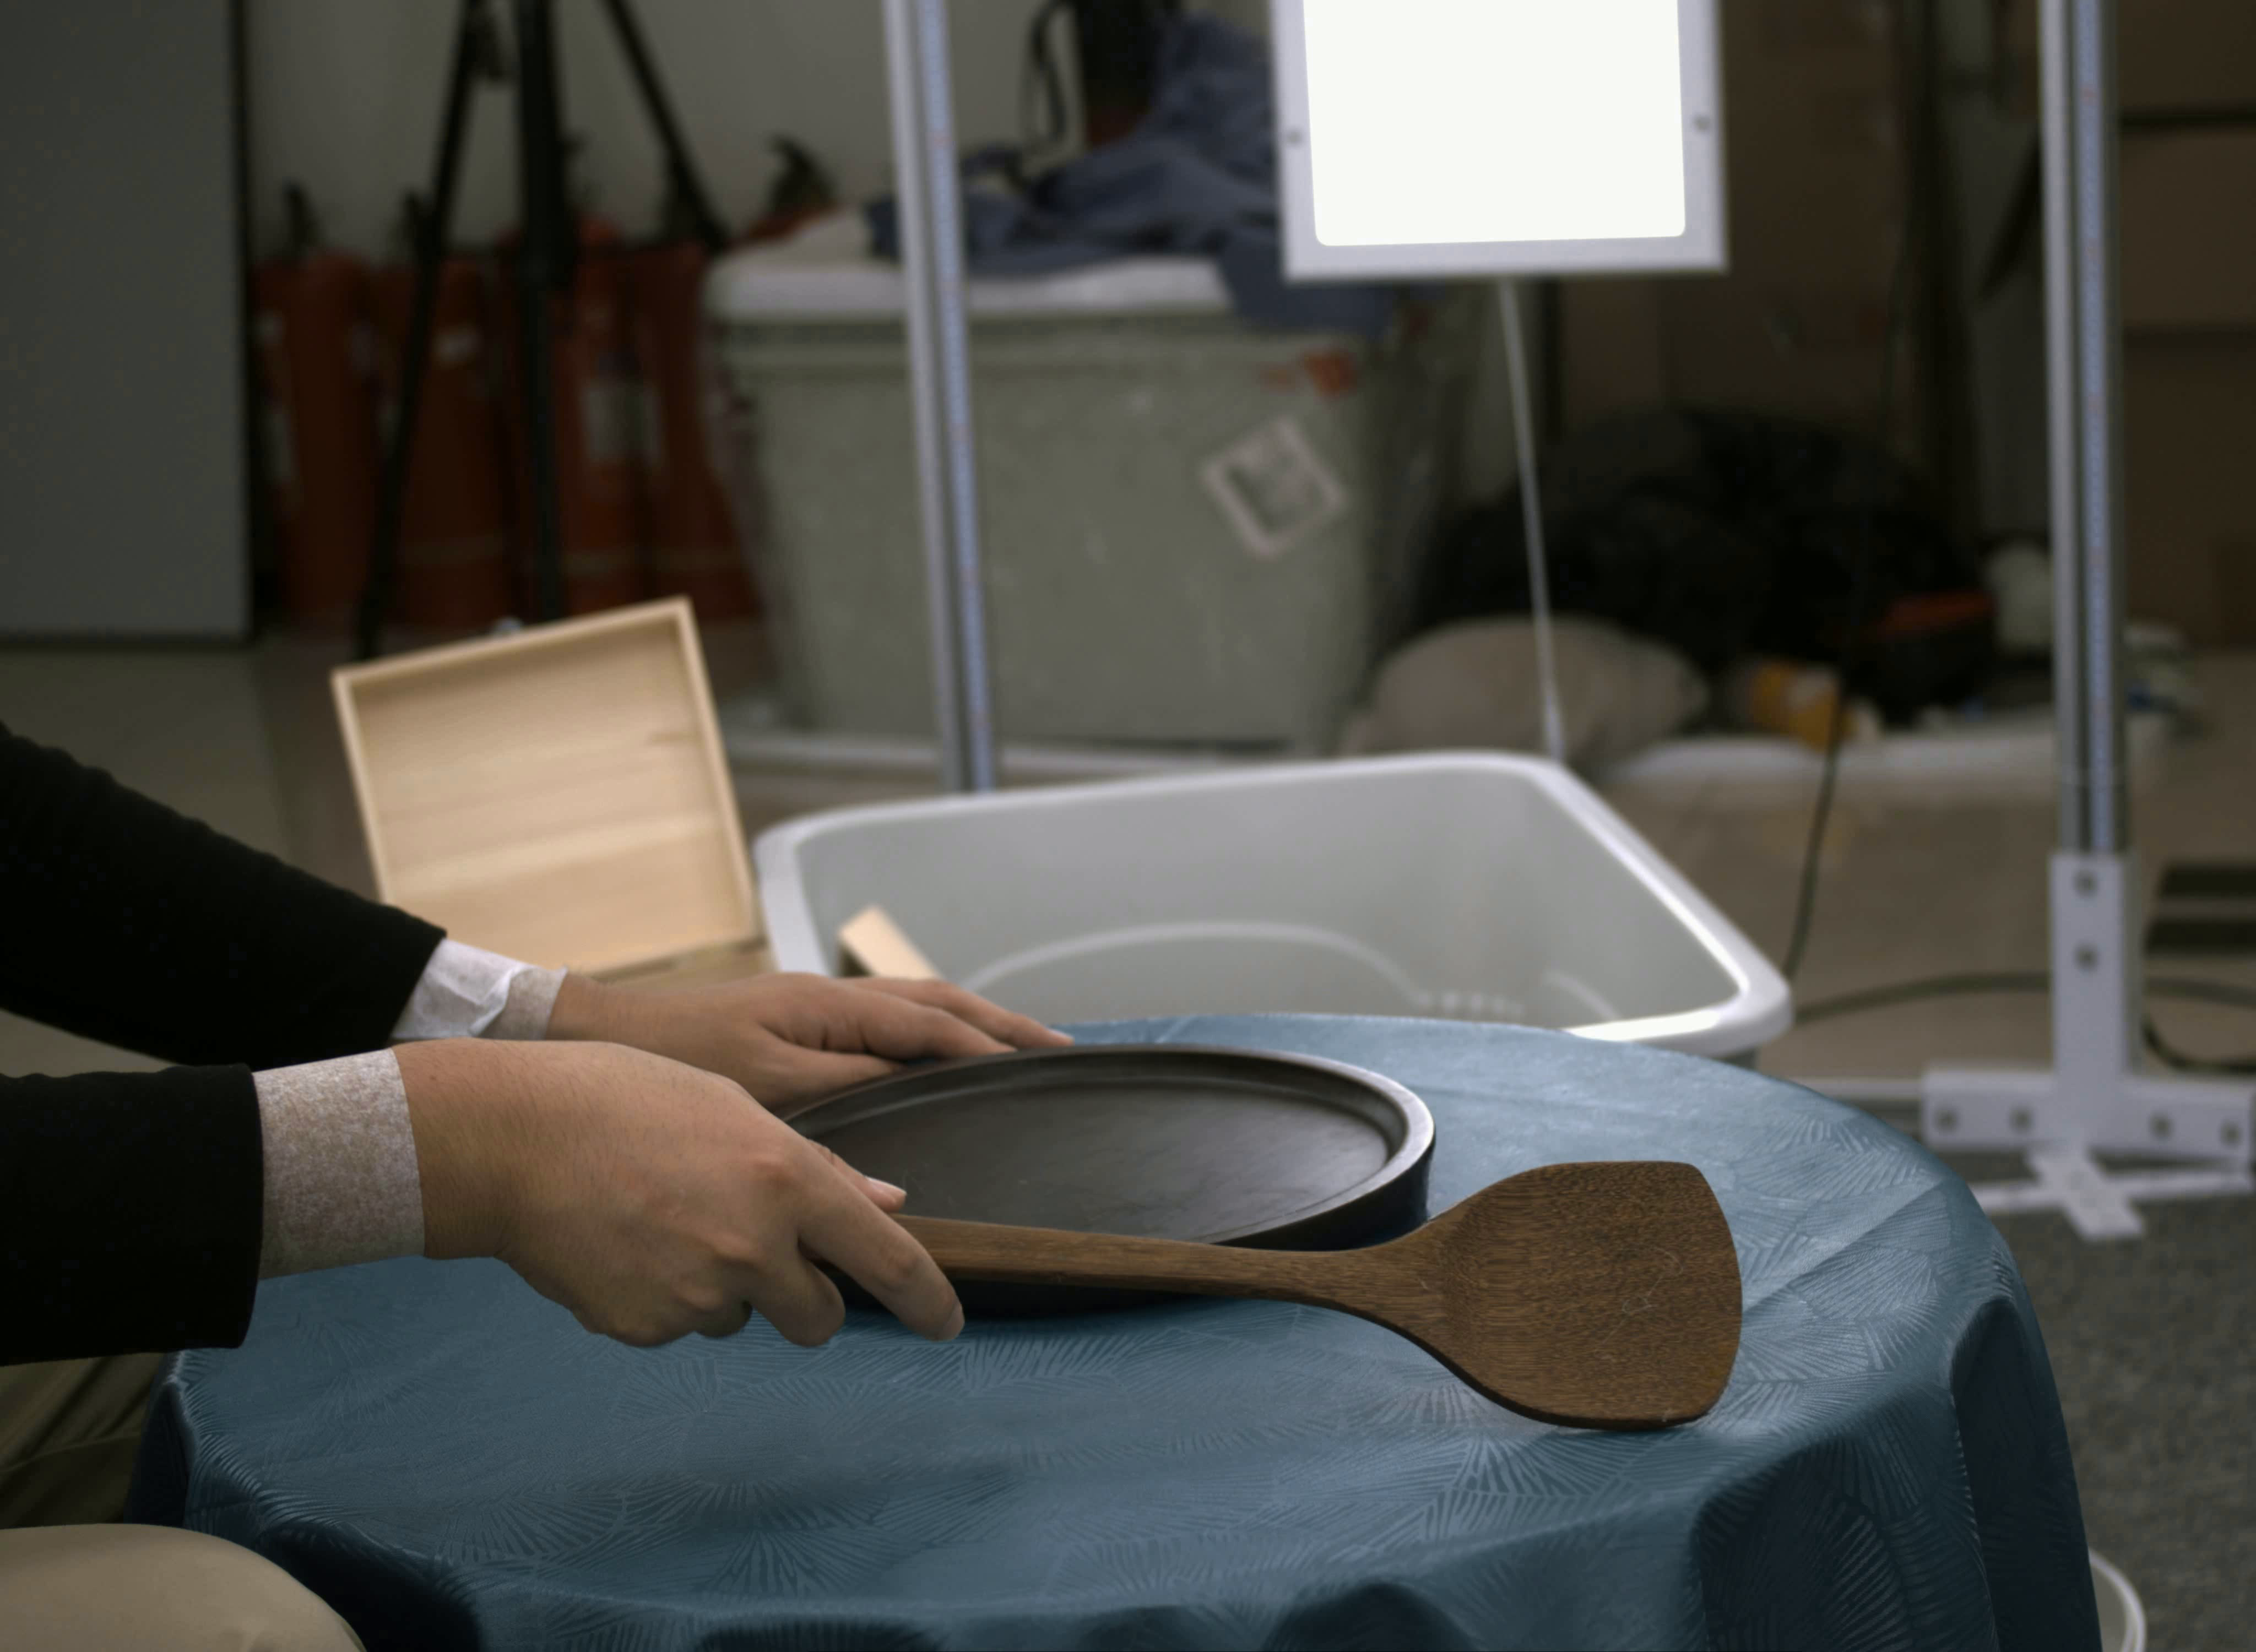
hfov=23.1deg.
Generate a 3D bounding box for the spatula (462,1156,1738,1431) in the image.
[{"bbox_3d":[-0.007,0.130,1.653,0.384,0.016,0.096,4,54,-1],"label":"spatula"}]

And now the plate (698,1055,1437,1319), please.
[{"bbox_3d":[-0.021,0.121,1.885,0.254,0.029,0.254,-4,15,0],"label":"plate"}]
